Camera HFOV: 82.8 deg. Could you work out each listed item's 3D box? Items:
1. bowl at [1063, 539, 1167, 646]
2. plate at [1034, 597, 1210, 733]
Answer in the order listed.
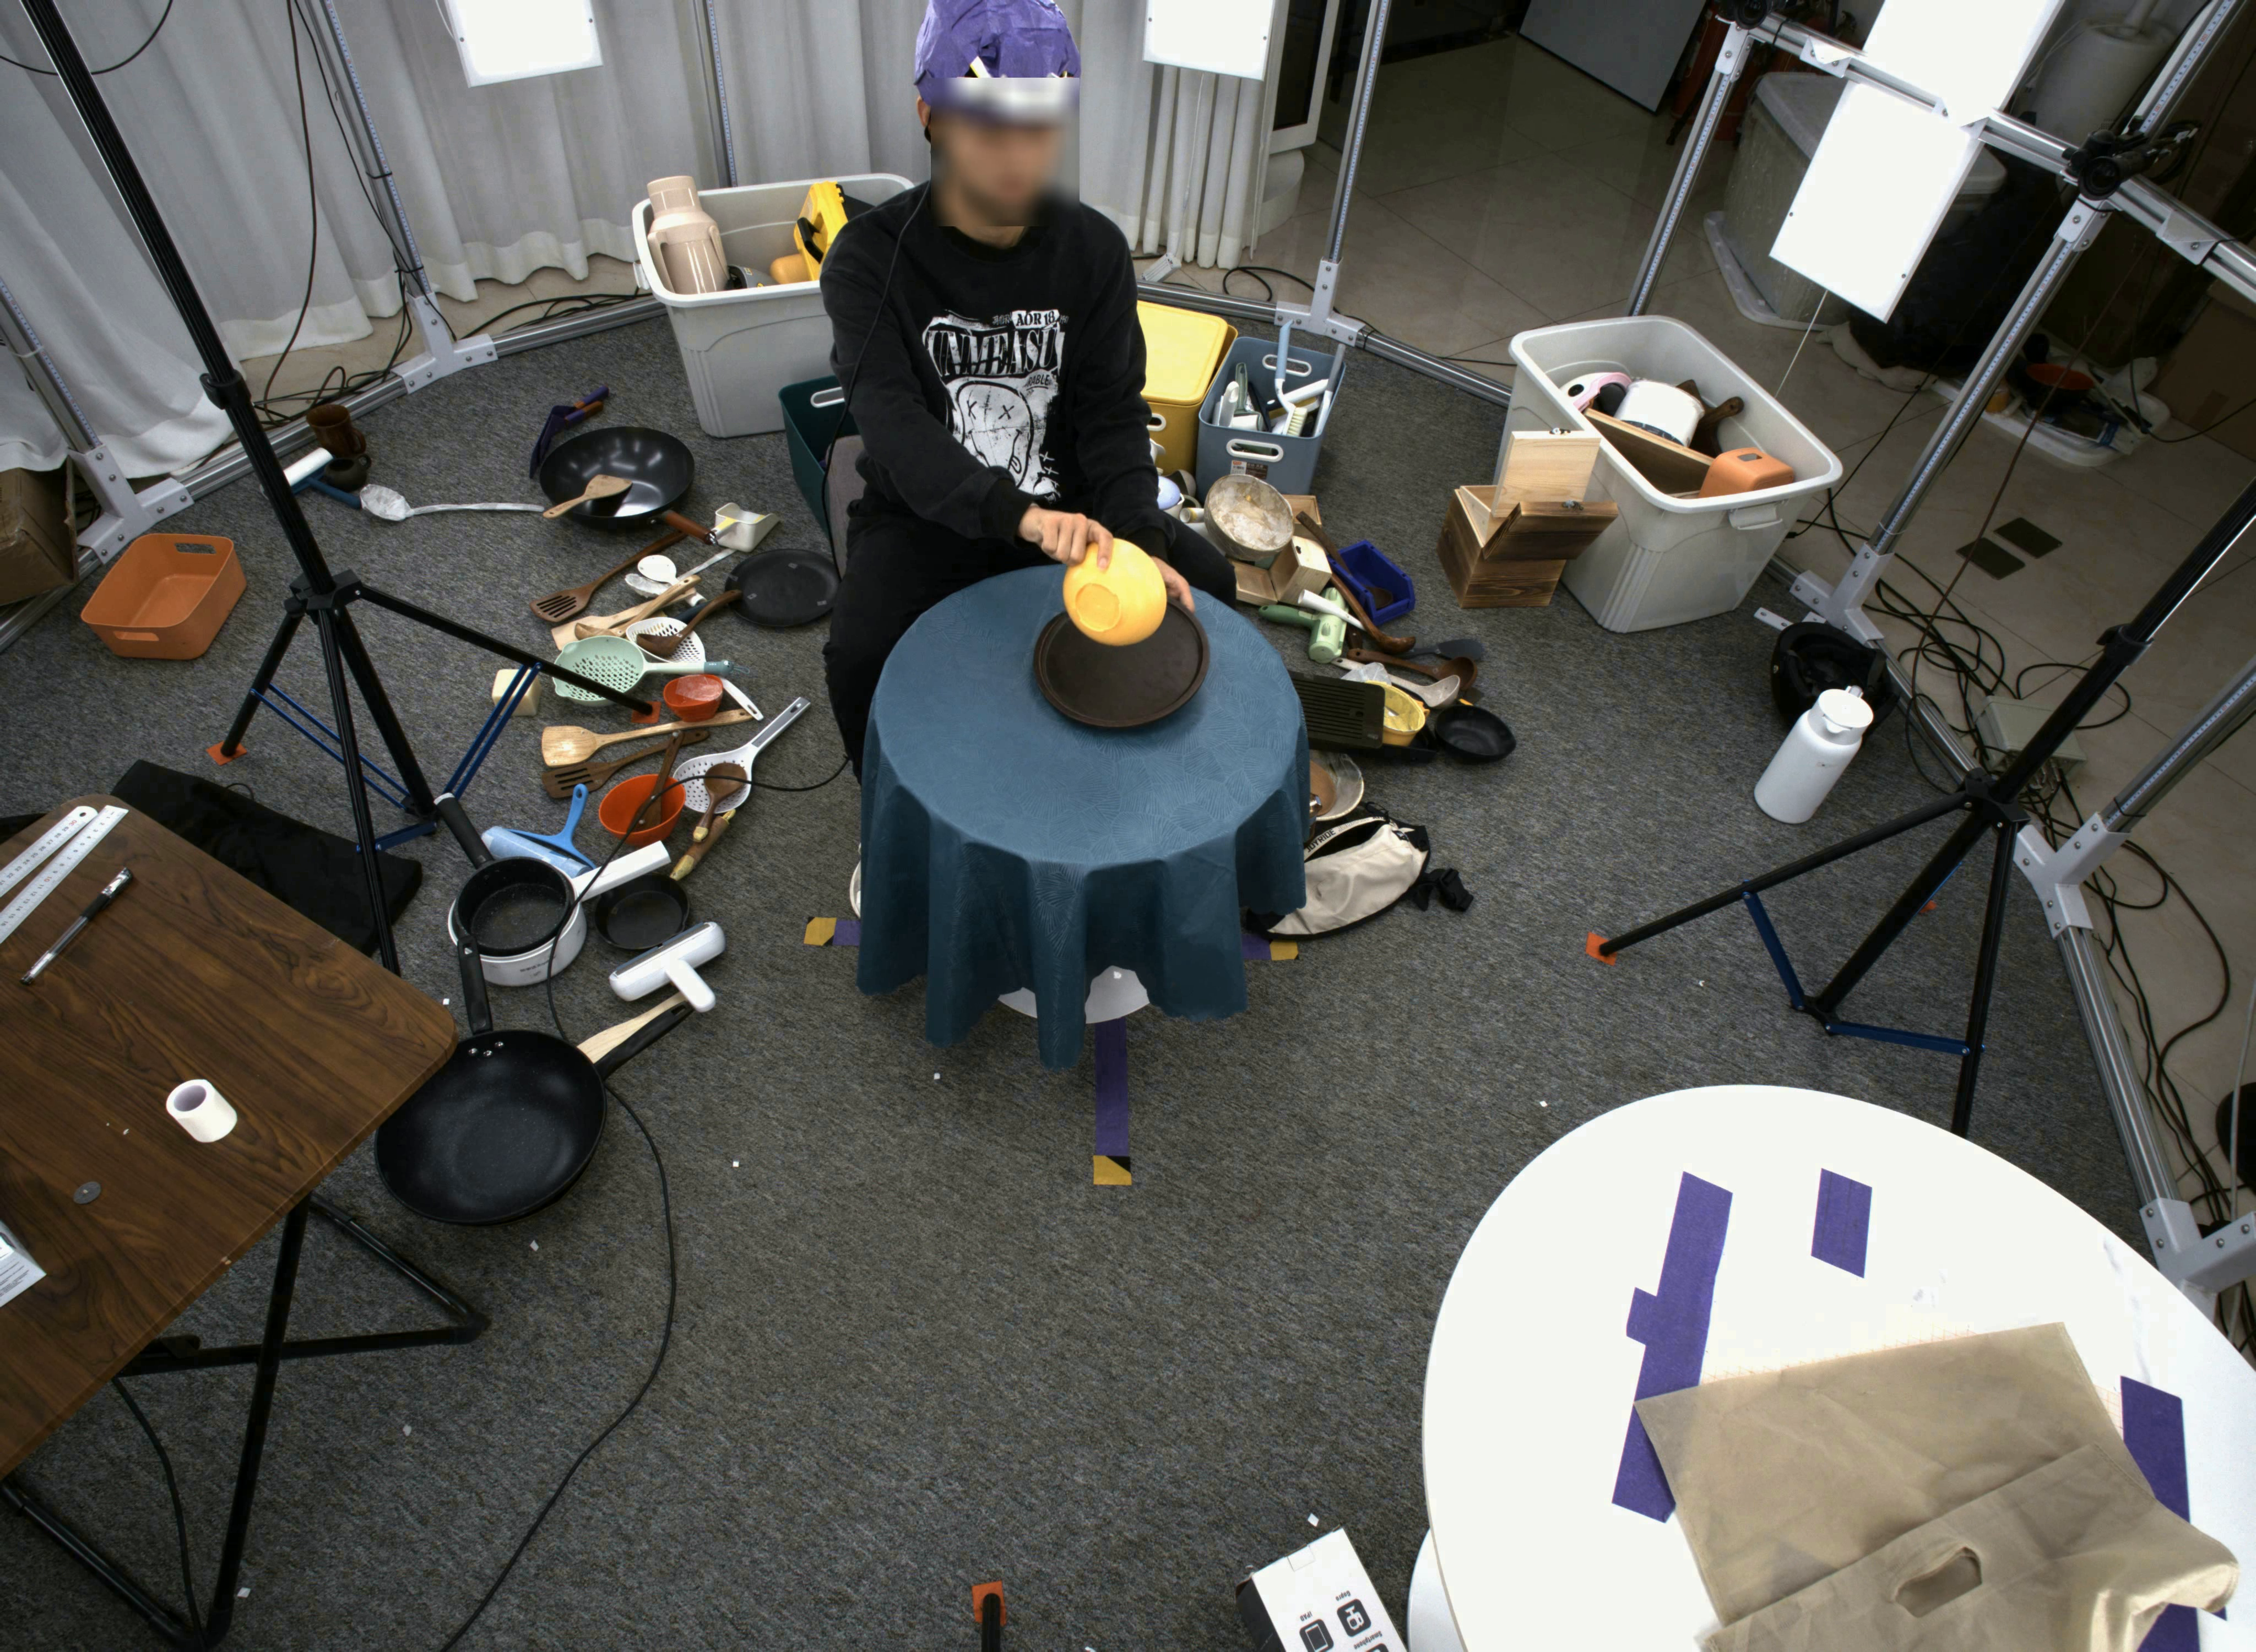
[{"bbox_3d":[-0.027,-0.291,1.654,0.146,0.142,0.061,21,34,14],"label":"bowl"},{"bbox_3d":[-0.008,-0.238,1.849,0.255,0.028,0.261,-4,56,6],"label":"plate"}]
